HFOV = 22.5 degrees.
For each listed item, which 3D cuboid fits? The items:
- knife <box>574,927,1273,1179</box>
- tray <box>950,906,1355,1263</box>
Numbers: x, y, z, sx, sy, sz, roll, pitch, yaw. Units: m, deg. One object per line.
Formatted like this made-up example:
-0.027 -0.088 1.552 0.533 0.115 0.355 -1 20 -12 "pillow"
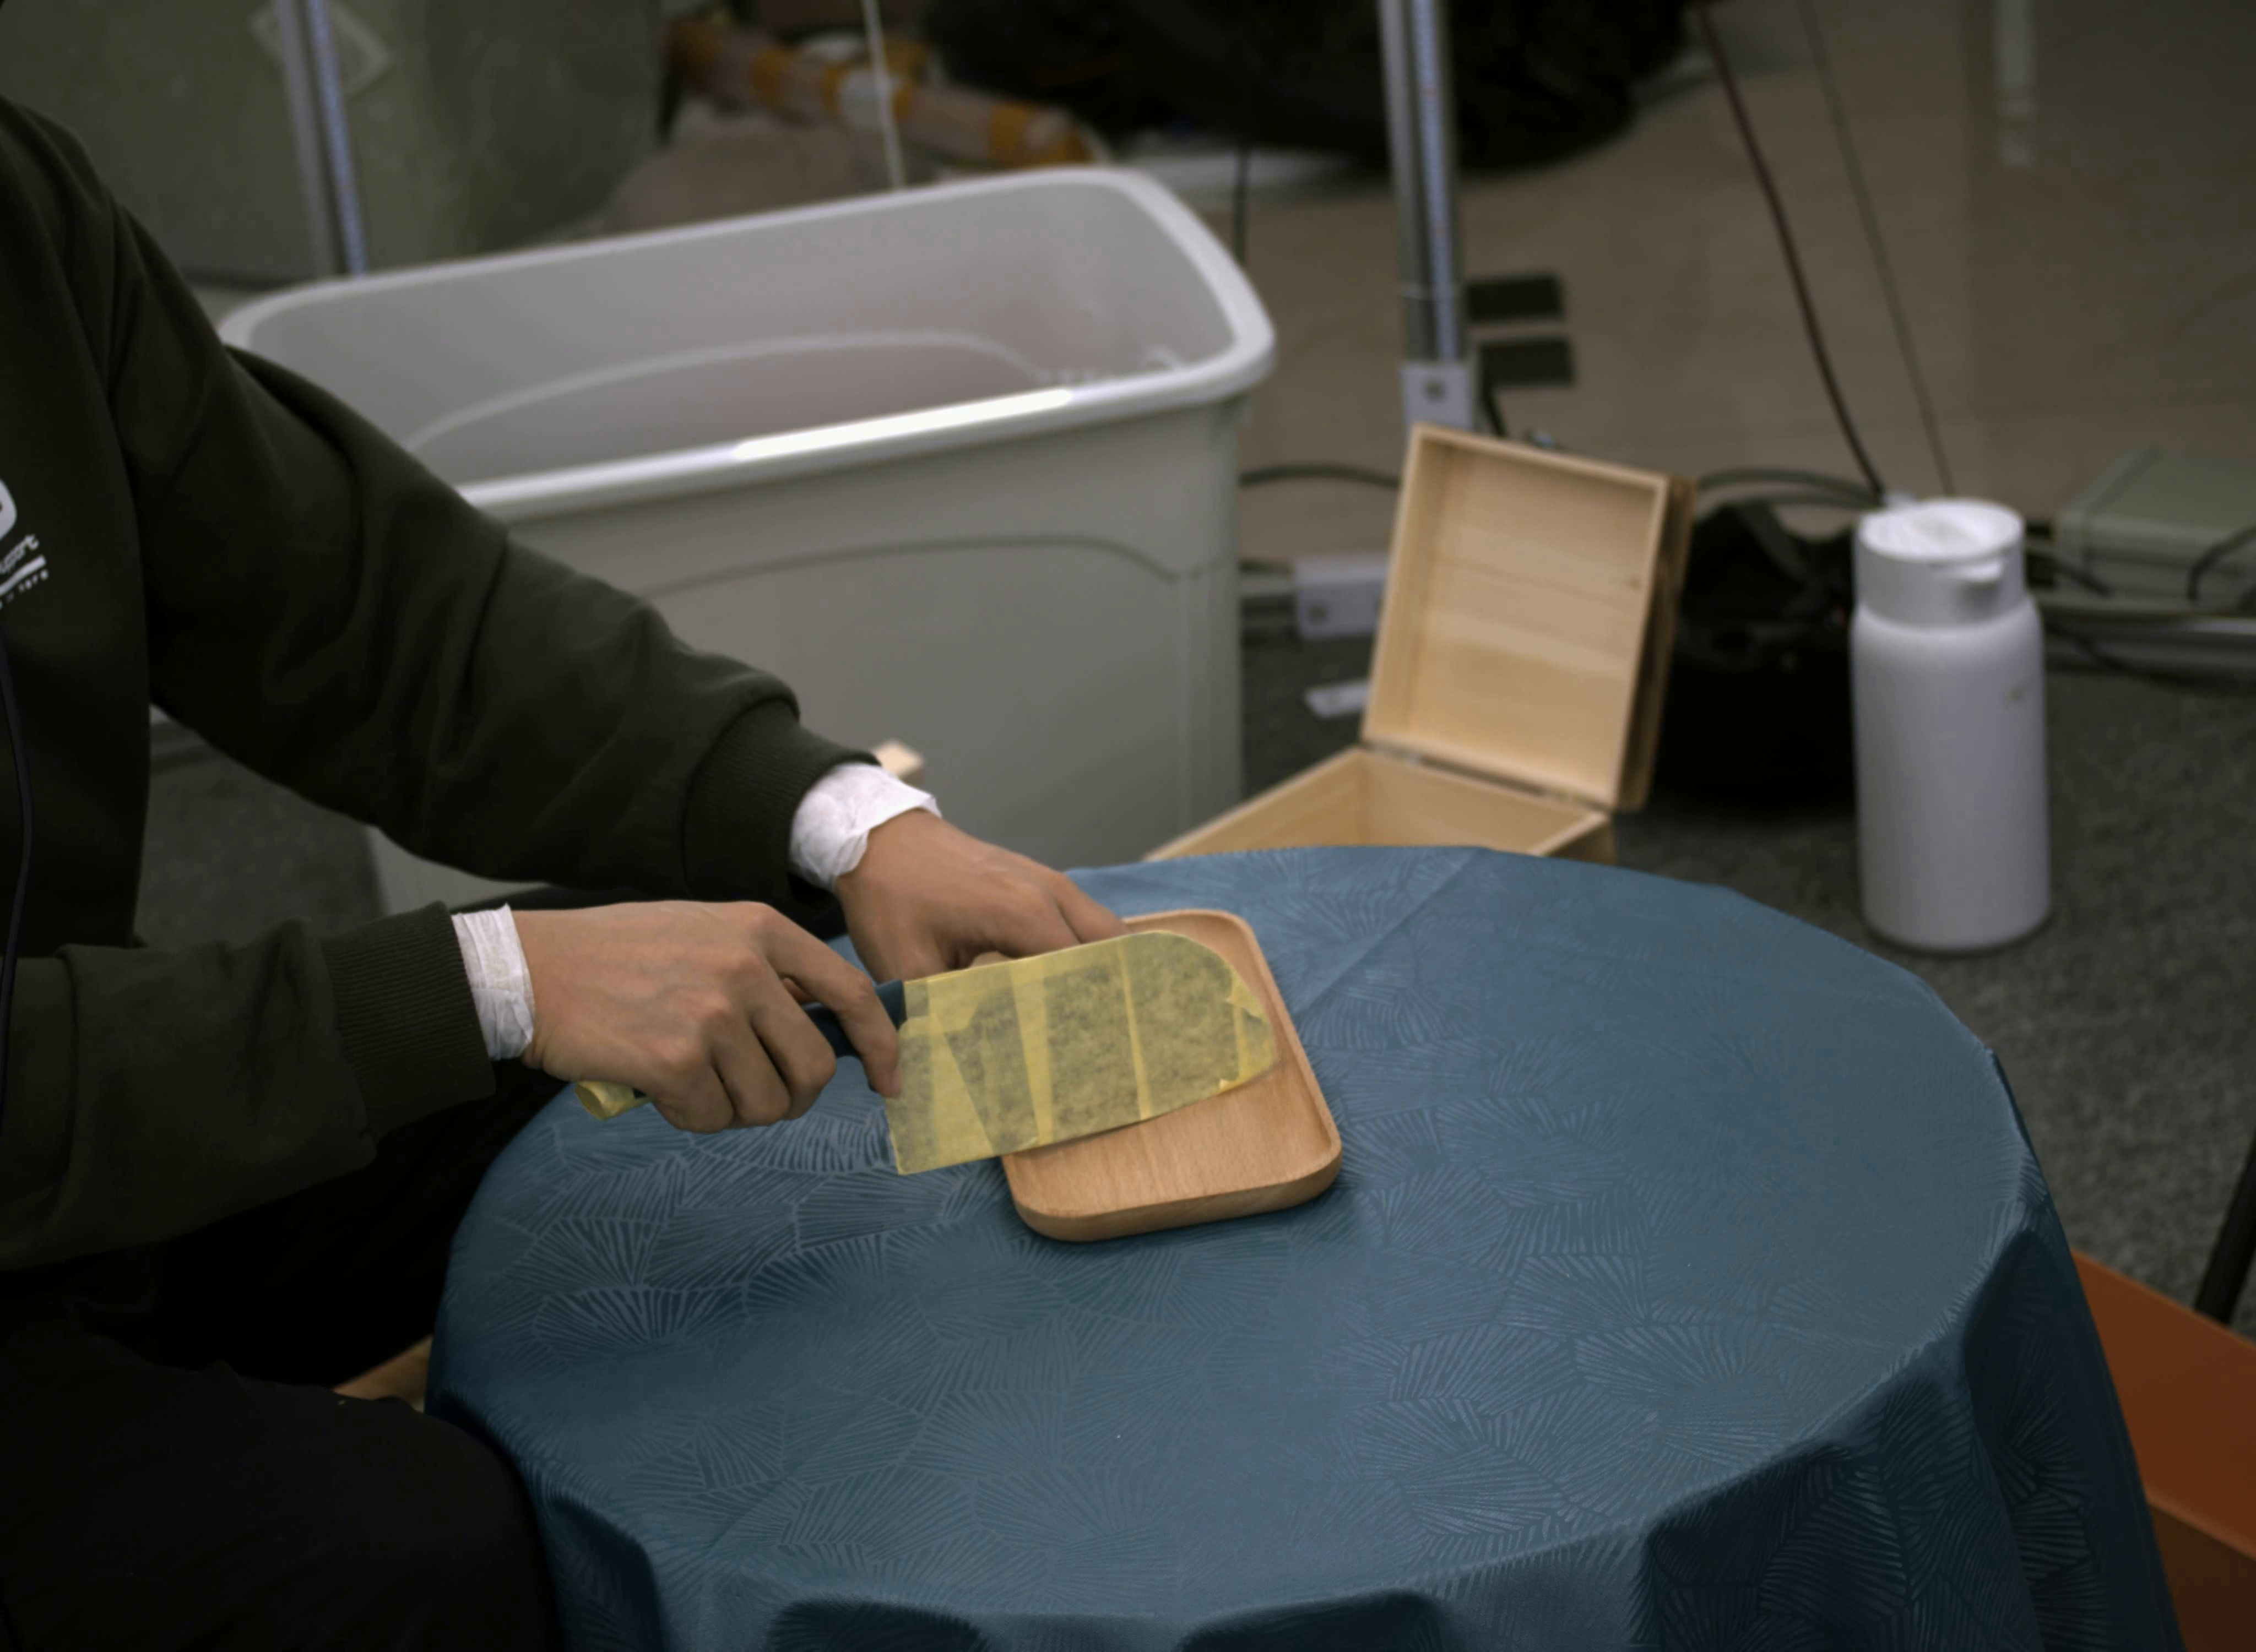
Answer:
-0.072 0.091 2.144 0.288 0.081 0.027 -8 5 -25 "knife"
0.007 0.099 2.227 0.130 0.023 0.247 -12 28 -4 "tray"
